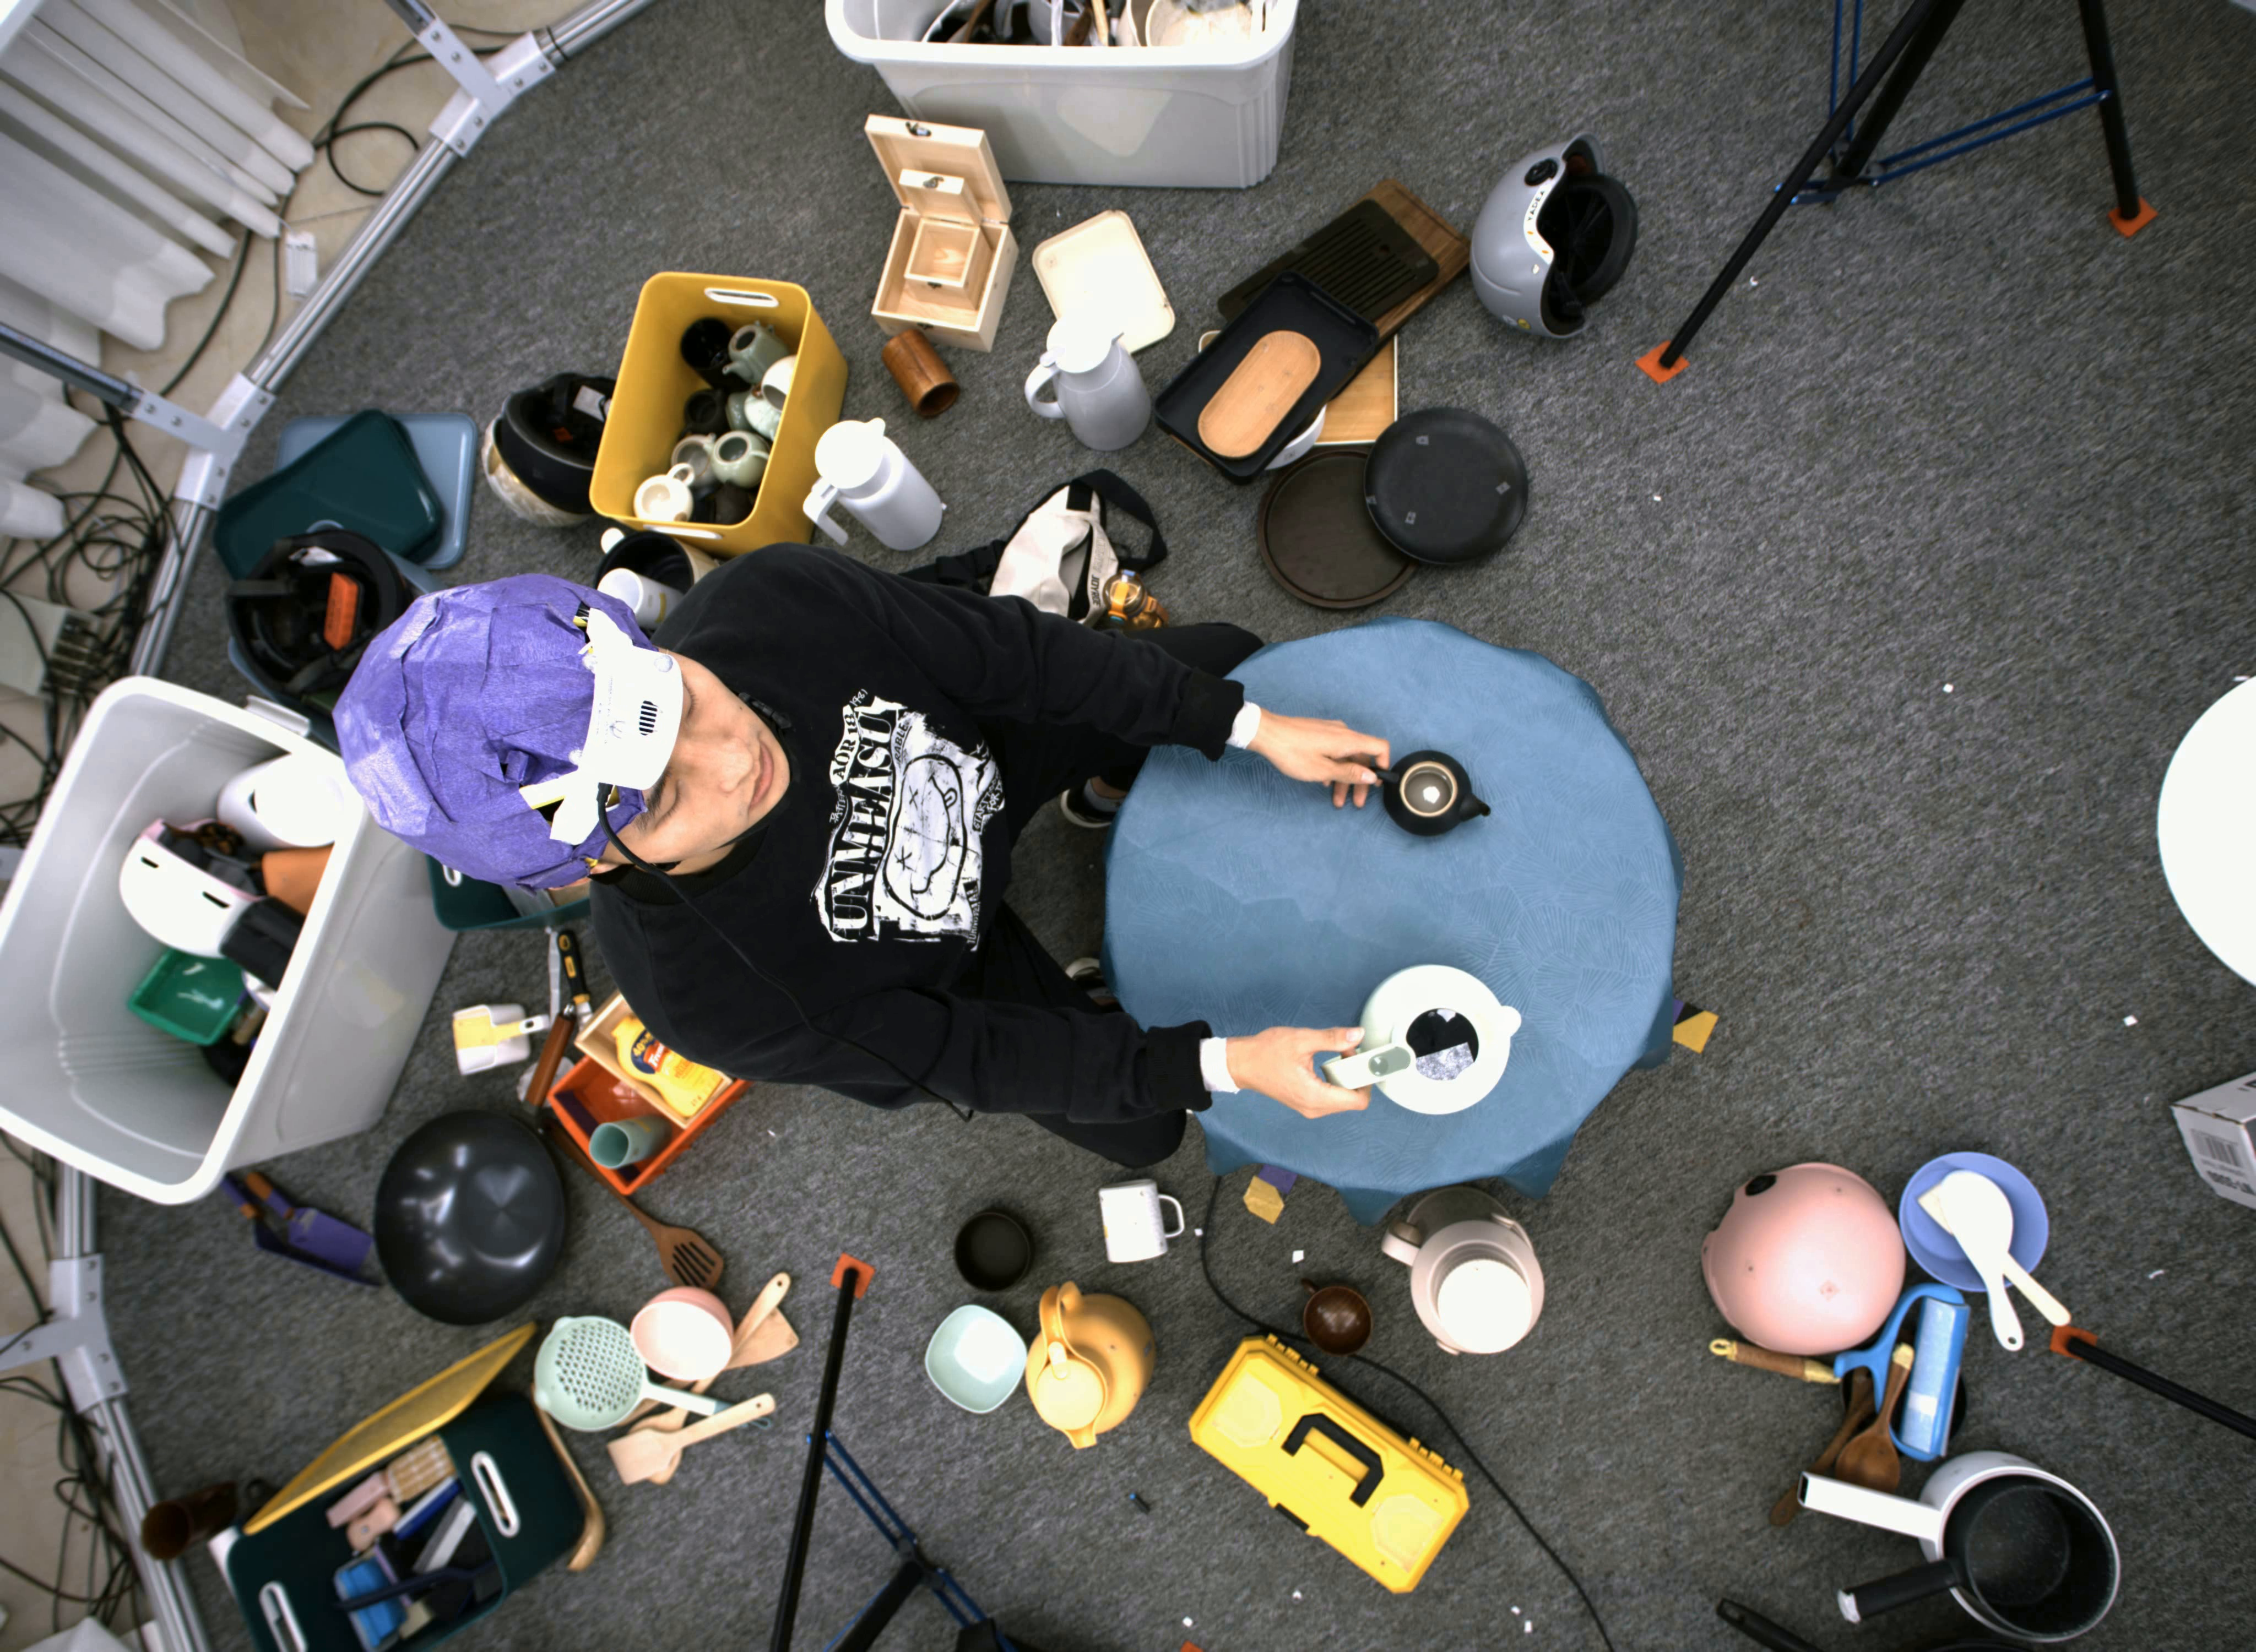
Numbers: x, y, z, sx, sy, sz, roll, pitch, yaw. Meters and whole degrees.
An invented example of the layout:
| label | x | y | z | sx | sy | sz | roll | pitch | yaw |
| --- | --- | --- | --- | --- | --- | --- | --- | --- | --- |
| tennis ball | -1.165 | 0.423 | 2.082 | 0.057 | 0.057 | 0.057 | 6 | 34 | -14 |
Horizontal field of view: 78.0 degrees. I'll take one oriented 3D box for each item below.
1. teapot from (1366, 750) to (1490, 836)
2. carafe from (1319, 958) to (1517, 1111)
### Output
| label | x | y | z | sx | sy | sz | roll | pitch | yaw |
| --- | --- | --- | --- | --- | --- | --- | --- | --- | --- |
| teapot | 0.311 | -0.037 | 1.431 | 0.133 | 0.053 | 0.091 | 21 | 89 | 11 |
| carafe | 0.279 | 0.205 | 1.327 | 0.188 | 0.256 | 0.143 | -21 | 84 | 11 |
